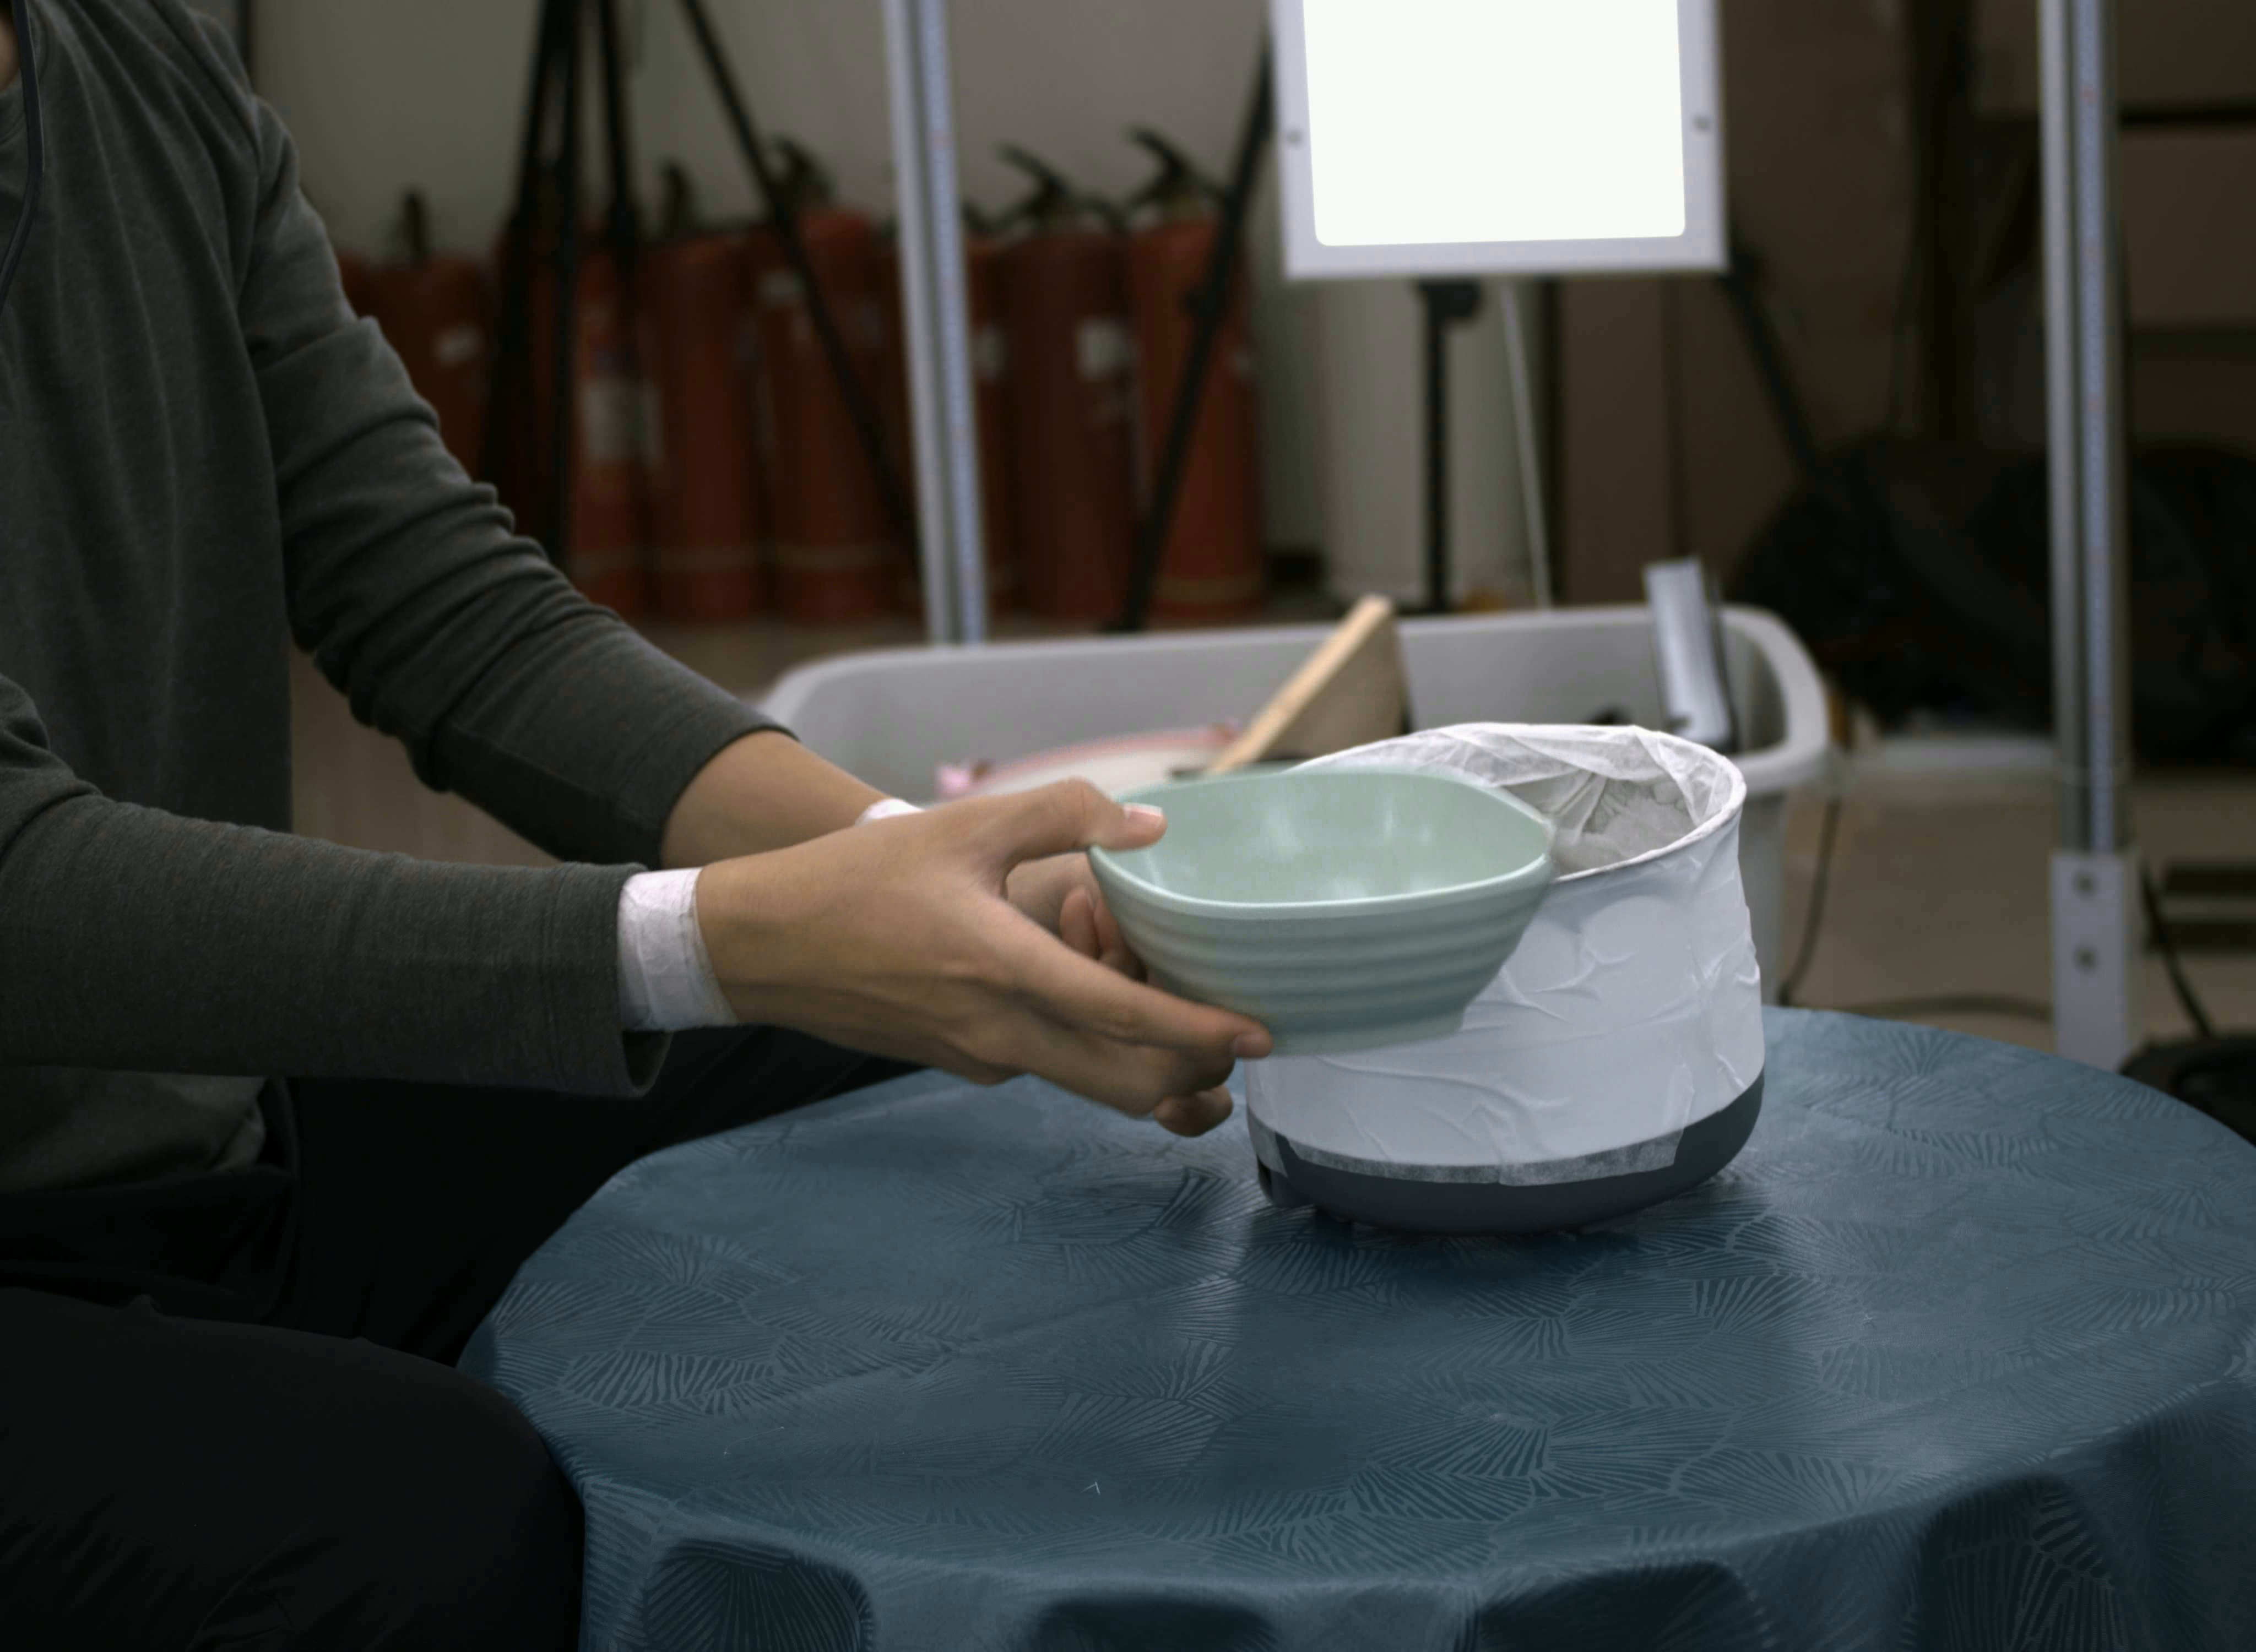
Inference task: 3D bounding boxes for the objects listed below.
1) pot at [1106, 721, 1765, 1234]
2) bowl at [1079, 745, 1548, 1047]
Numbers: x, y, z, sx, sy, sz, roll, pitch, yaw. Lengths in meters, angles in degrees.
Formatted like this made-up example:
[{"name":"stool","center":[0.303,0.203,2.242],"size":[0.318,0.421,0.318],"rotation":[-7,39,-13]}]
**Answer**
[{"name":"pot","center":[0.100,0.051,1.869],"size":[0.237,0.137,0.175],"rotation":[1,19,23]},{"name":"bowl","center":[0.056,0.025,1.684],"size":[0.151,0.059,0.151],"rotation":[-1,20,-1]}]
